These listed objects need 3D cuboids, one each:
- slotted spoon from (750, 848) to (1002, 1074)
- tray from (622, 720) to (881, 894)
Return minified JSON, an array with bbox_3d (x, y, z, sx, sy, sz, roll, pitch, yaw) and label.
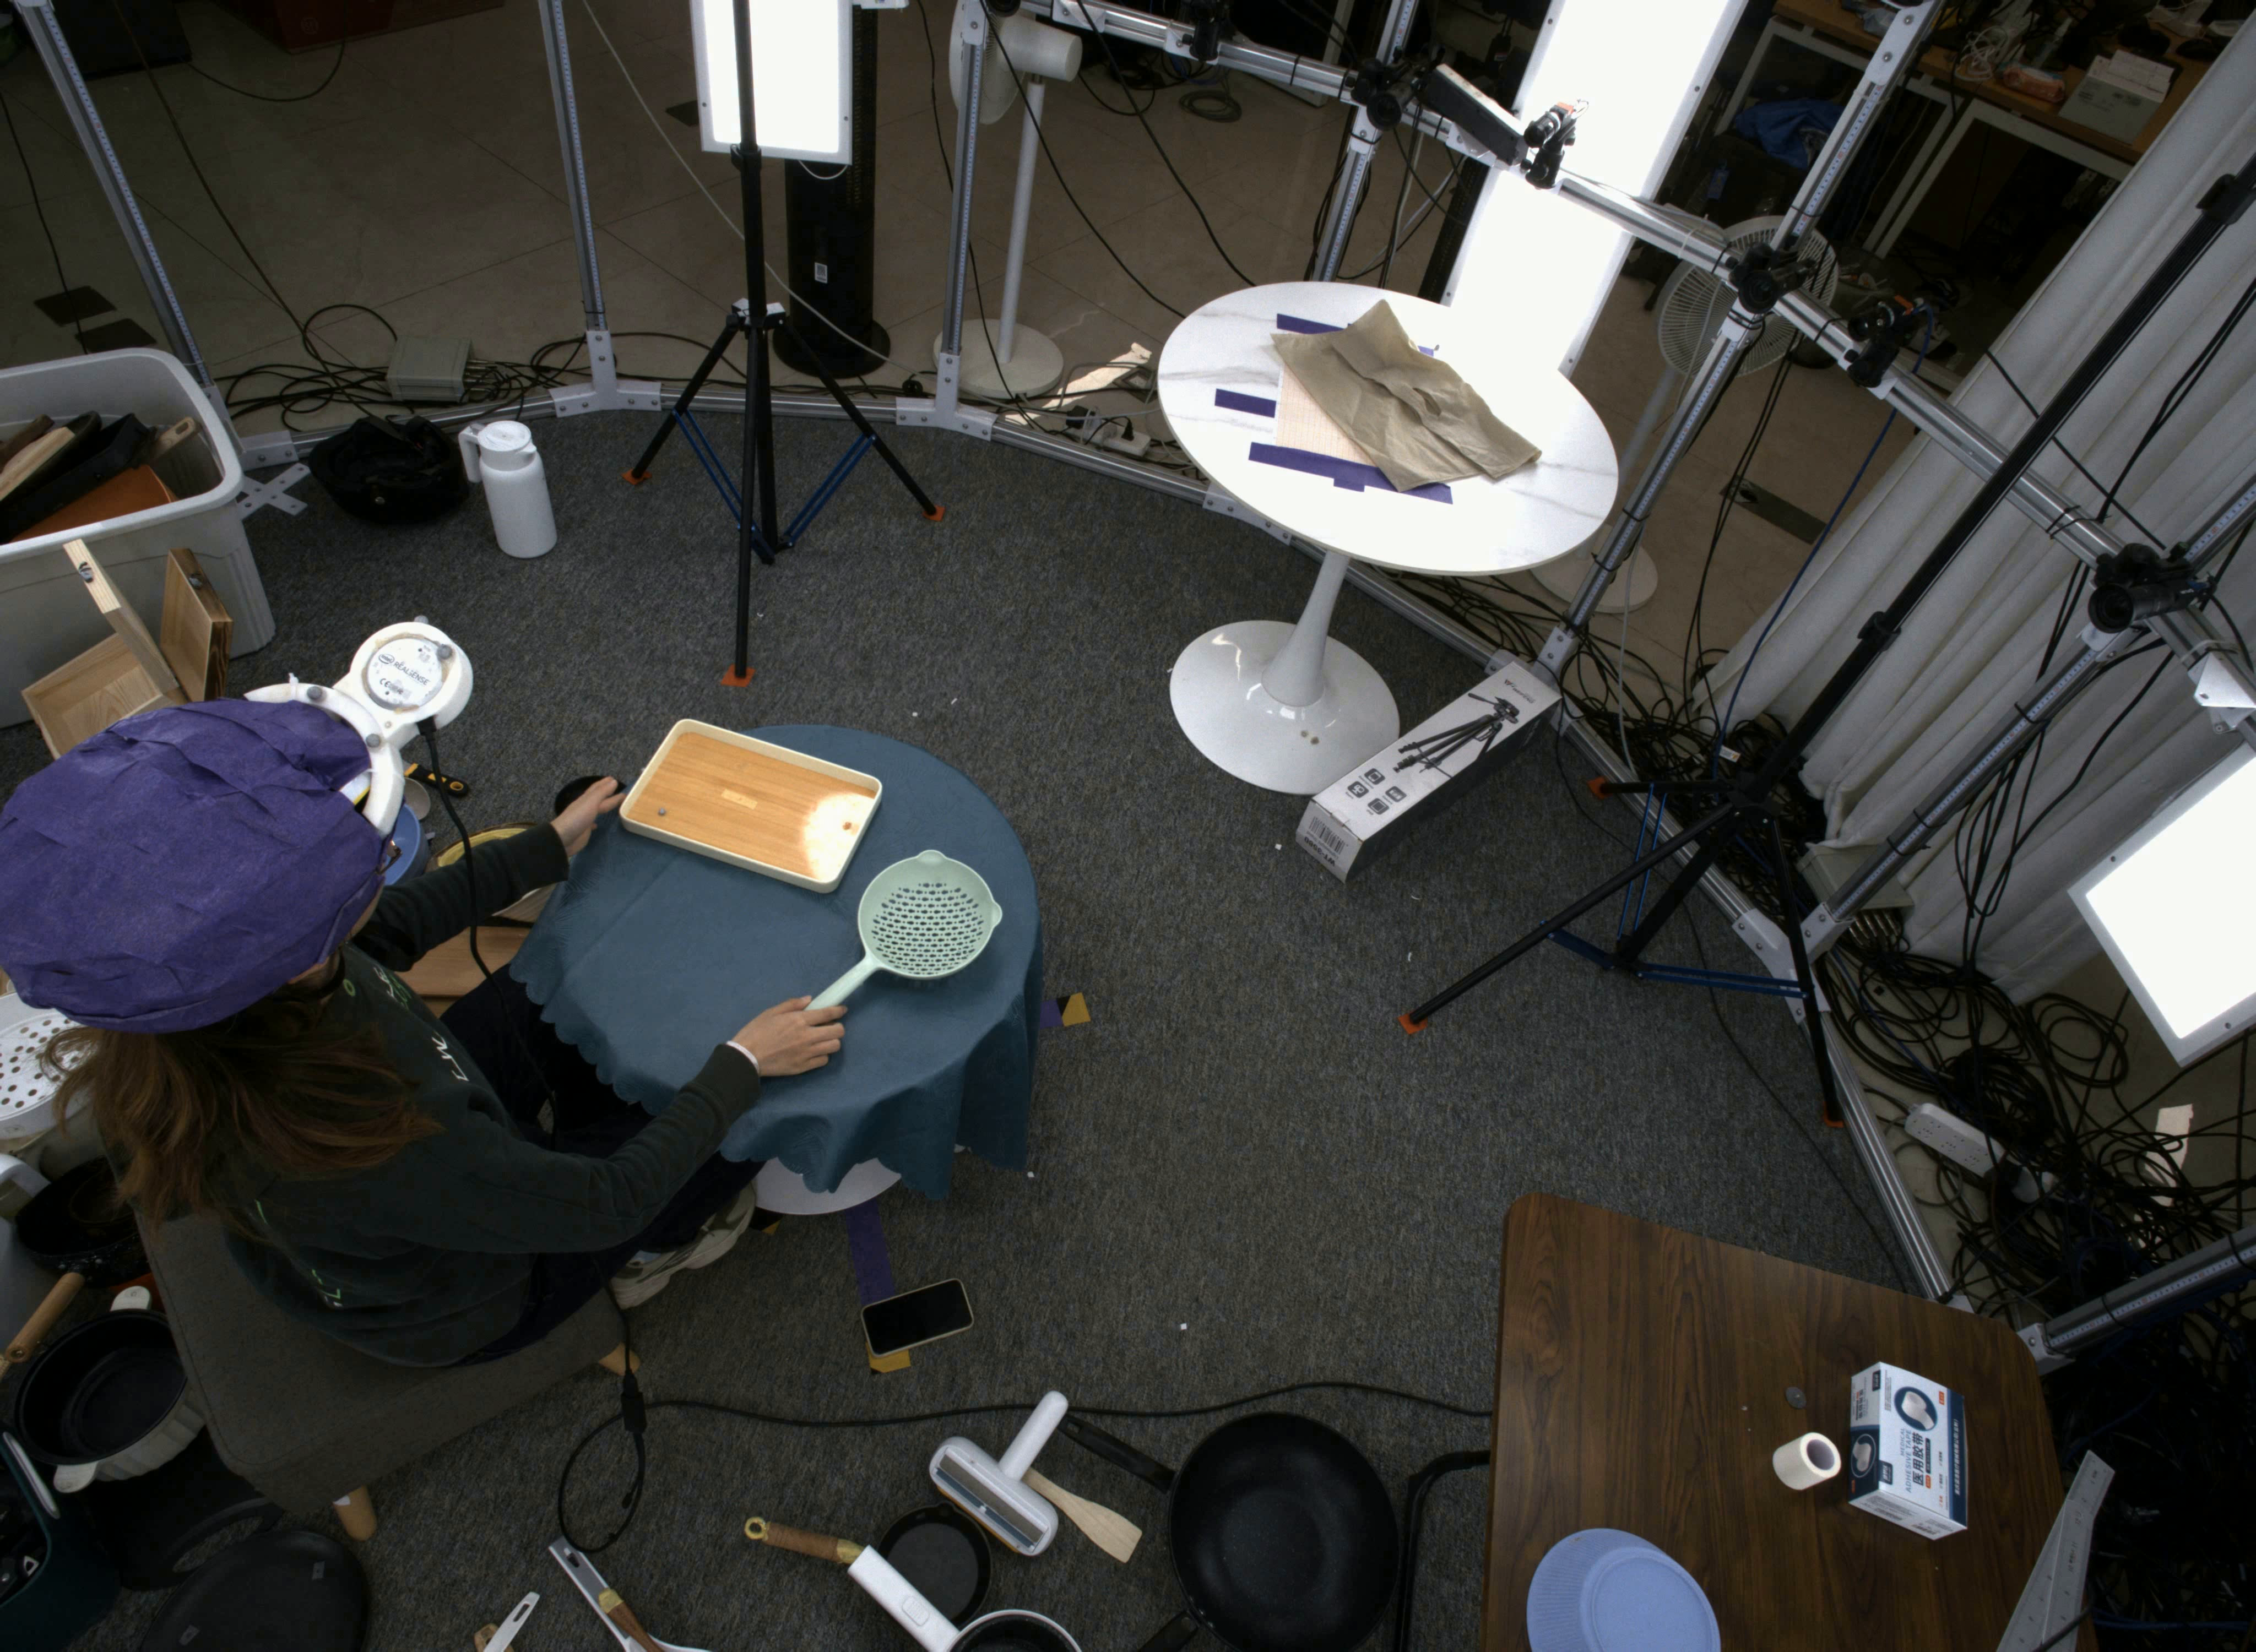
[{"bbox_3d":[-0.317,0.171,1.587,0.166,0.077,0.359,41,55,16],"label":"slotted spoon"},{"bbox_3d":[-0.497,-0.029,1.715,0.297,0.028,0.189,18,52,-1],"label":"tray"}]
